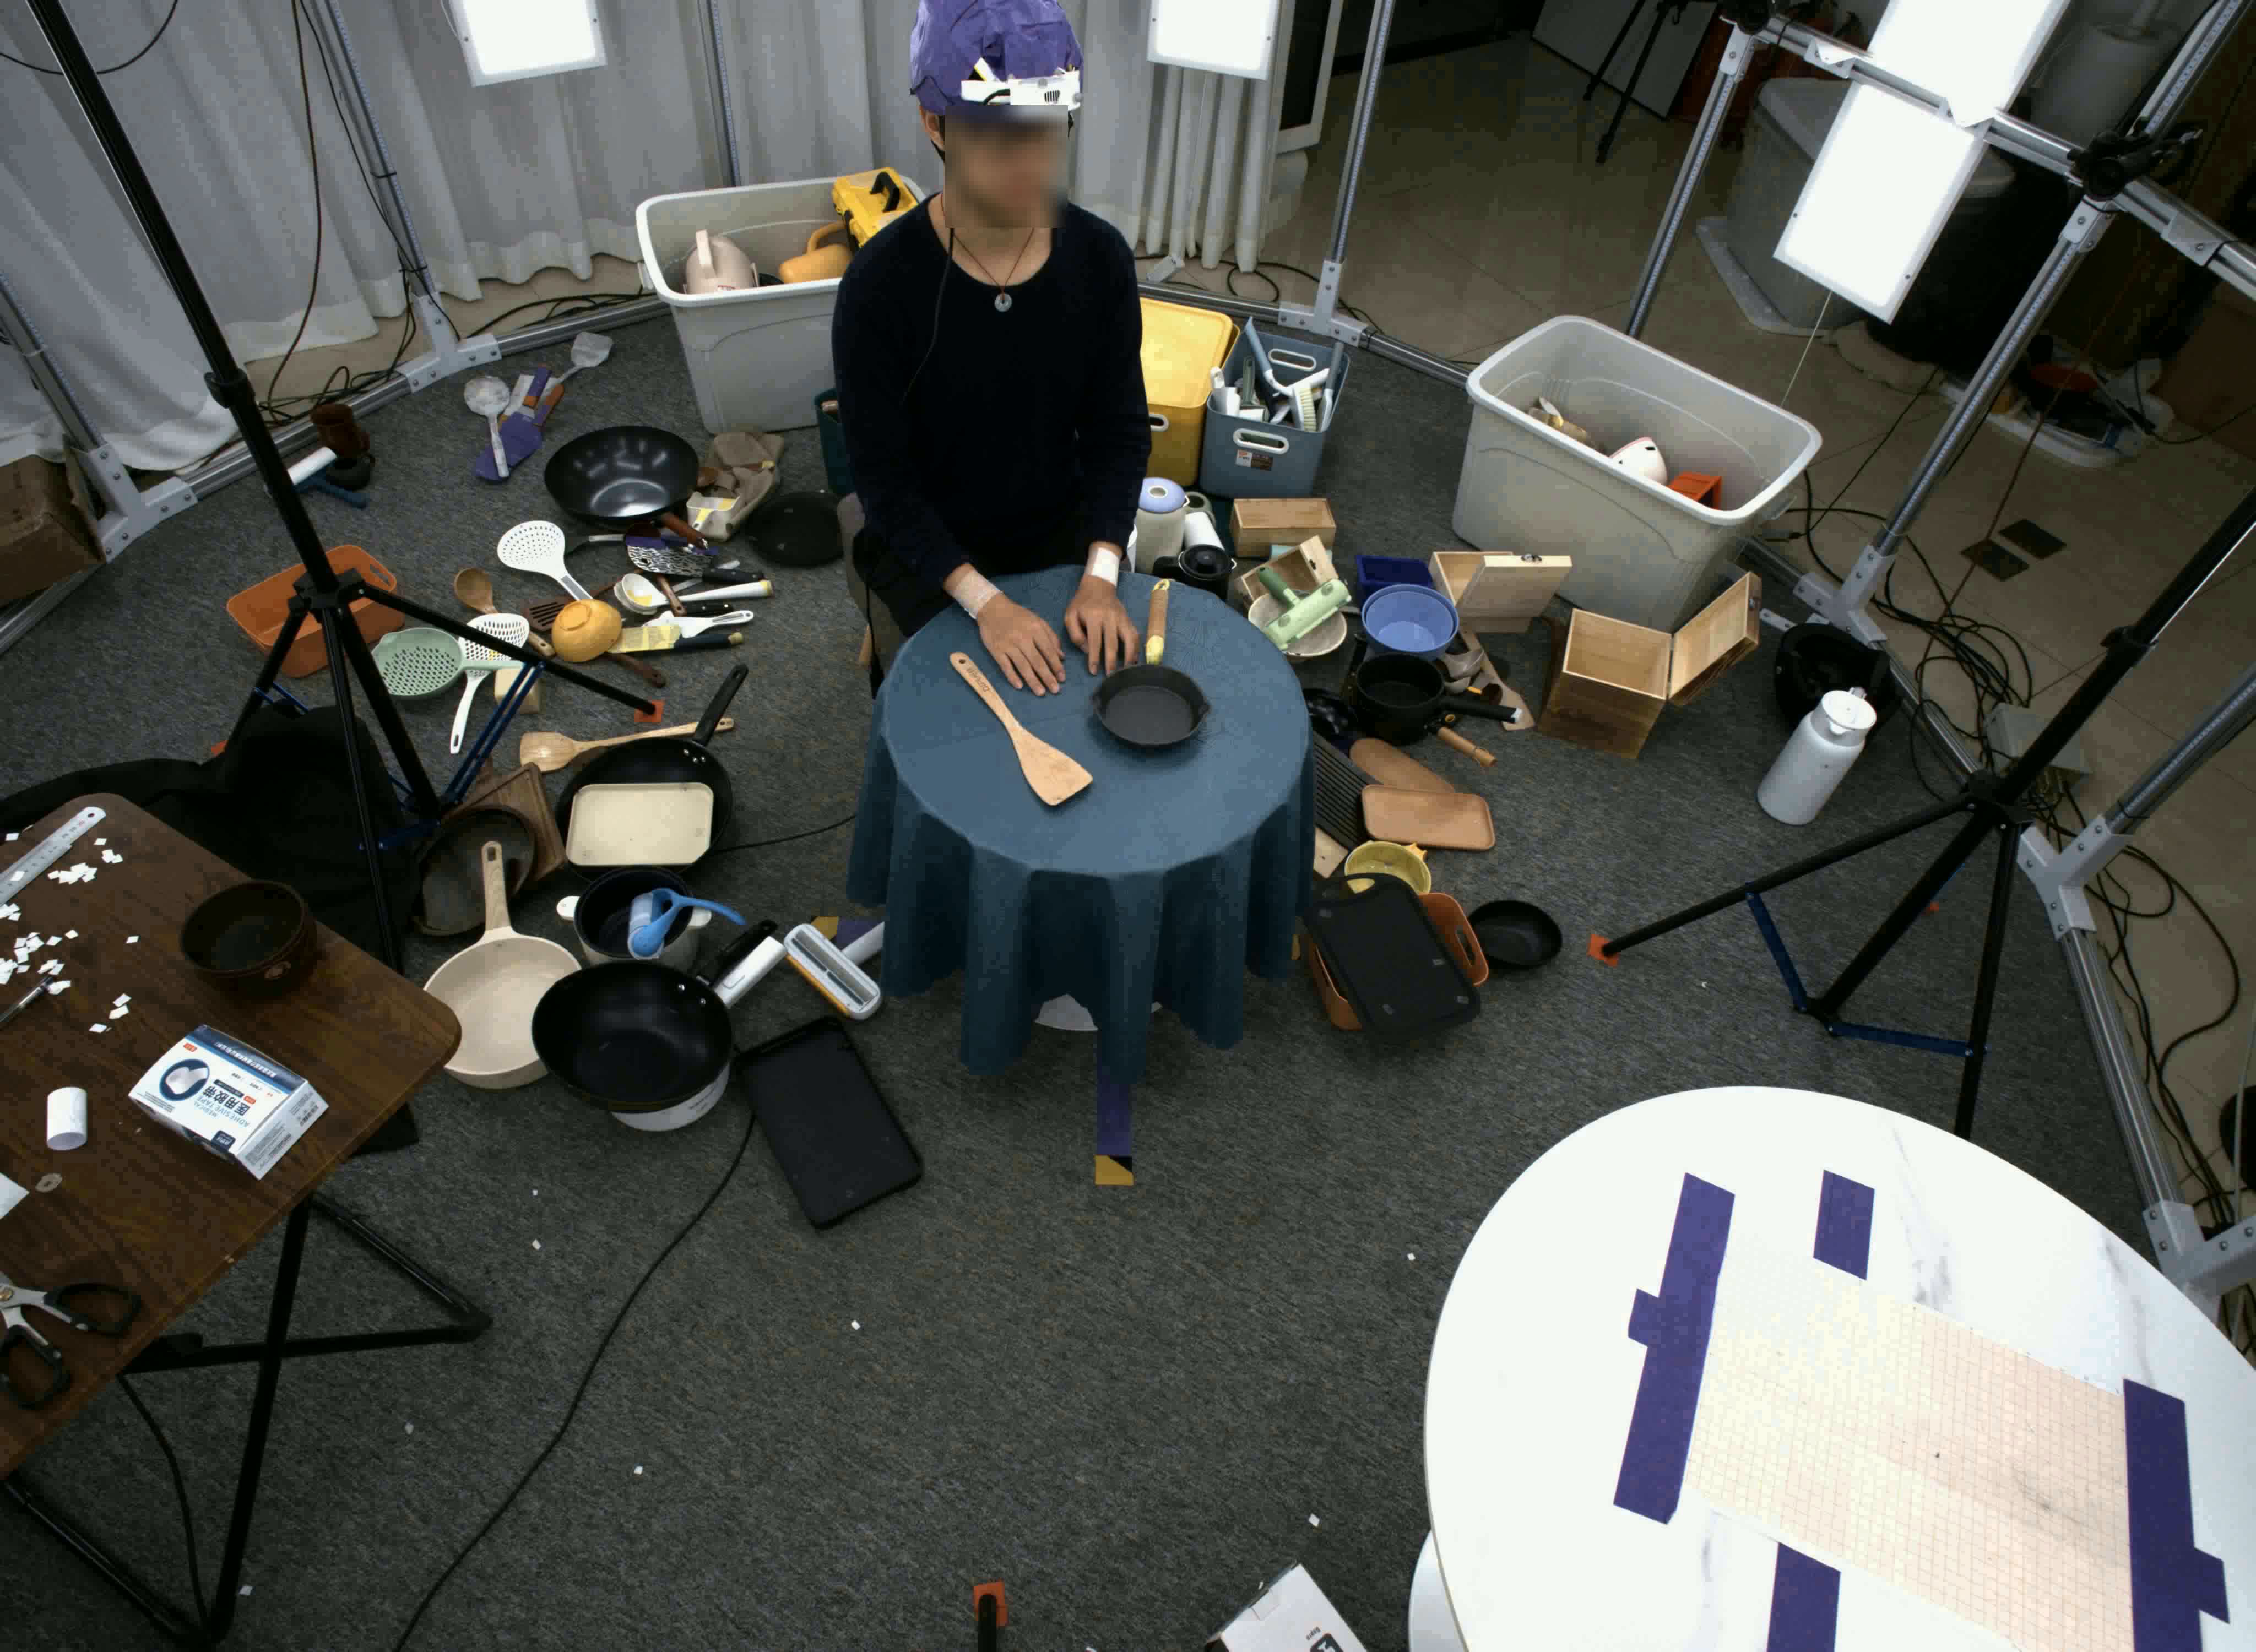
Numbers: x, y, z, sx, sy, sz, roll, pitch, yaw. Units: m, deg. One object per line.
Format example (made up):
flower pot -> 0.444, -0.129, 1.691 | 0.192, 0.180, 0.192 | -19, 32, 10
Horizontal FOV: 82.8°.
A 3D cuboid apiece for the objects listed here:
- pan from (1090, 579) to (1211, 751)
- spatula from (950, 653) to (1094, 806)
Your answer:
pan -> 0.039, -0.232, 1.840 | 0.169, 0.048, 0.332 | 6, 50, 2
spatula -> -0.158, -0.143, 1.772 | 0.080, 0.016, 0.334 | -24, 55, -24
